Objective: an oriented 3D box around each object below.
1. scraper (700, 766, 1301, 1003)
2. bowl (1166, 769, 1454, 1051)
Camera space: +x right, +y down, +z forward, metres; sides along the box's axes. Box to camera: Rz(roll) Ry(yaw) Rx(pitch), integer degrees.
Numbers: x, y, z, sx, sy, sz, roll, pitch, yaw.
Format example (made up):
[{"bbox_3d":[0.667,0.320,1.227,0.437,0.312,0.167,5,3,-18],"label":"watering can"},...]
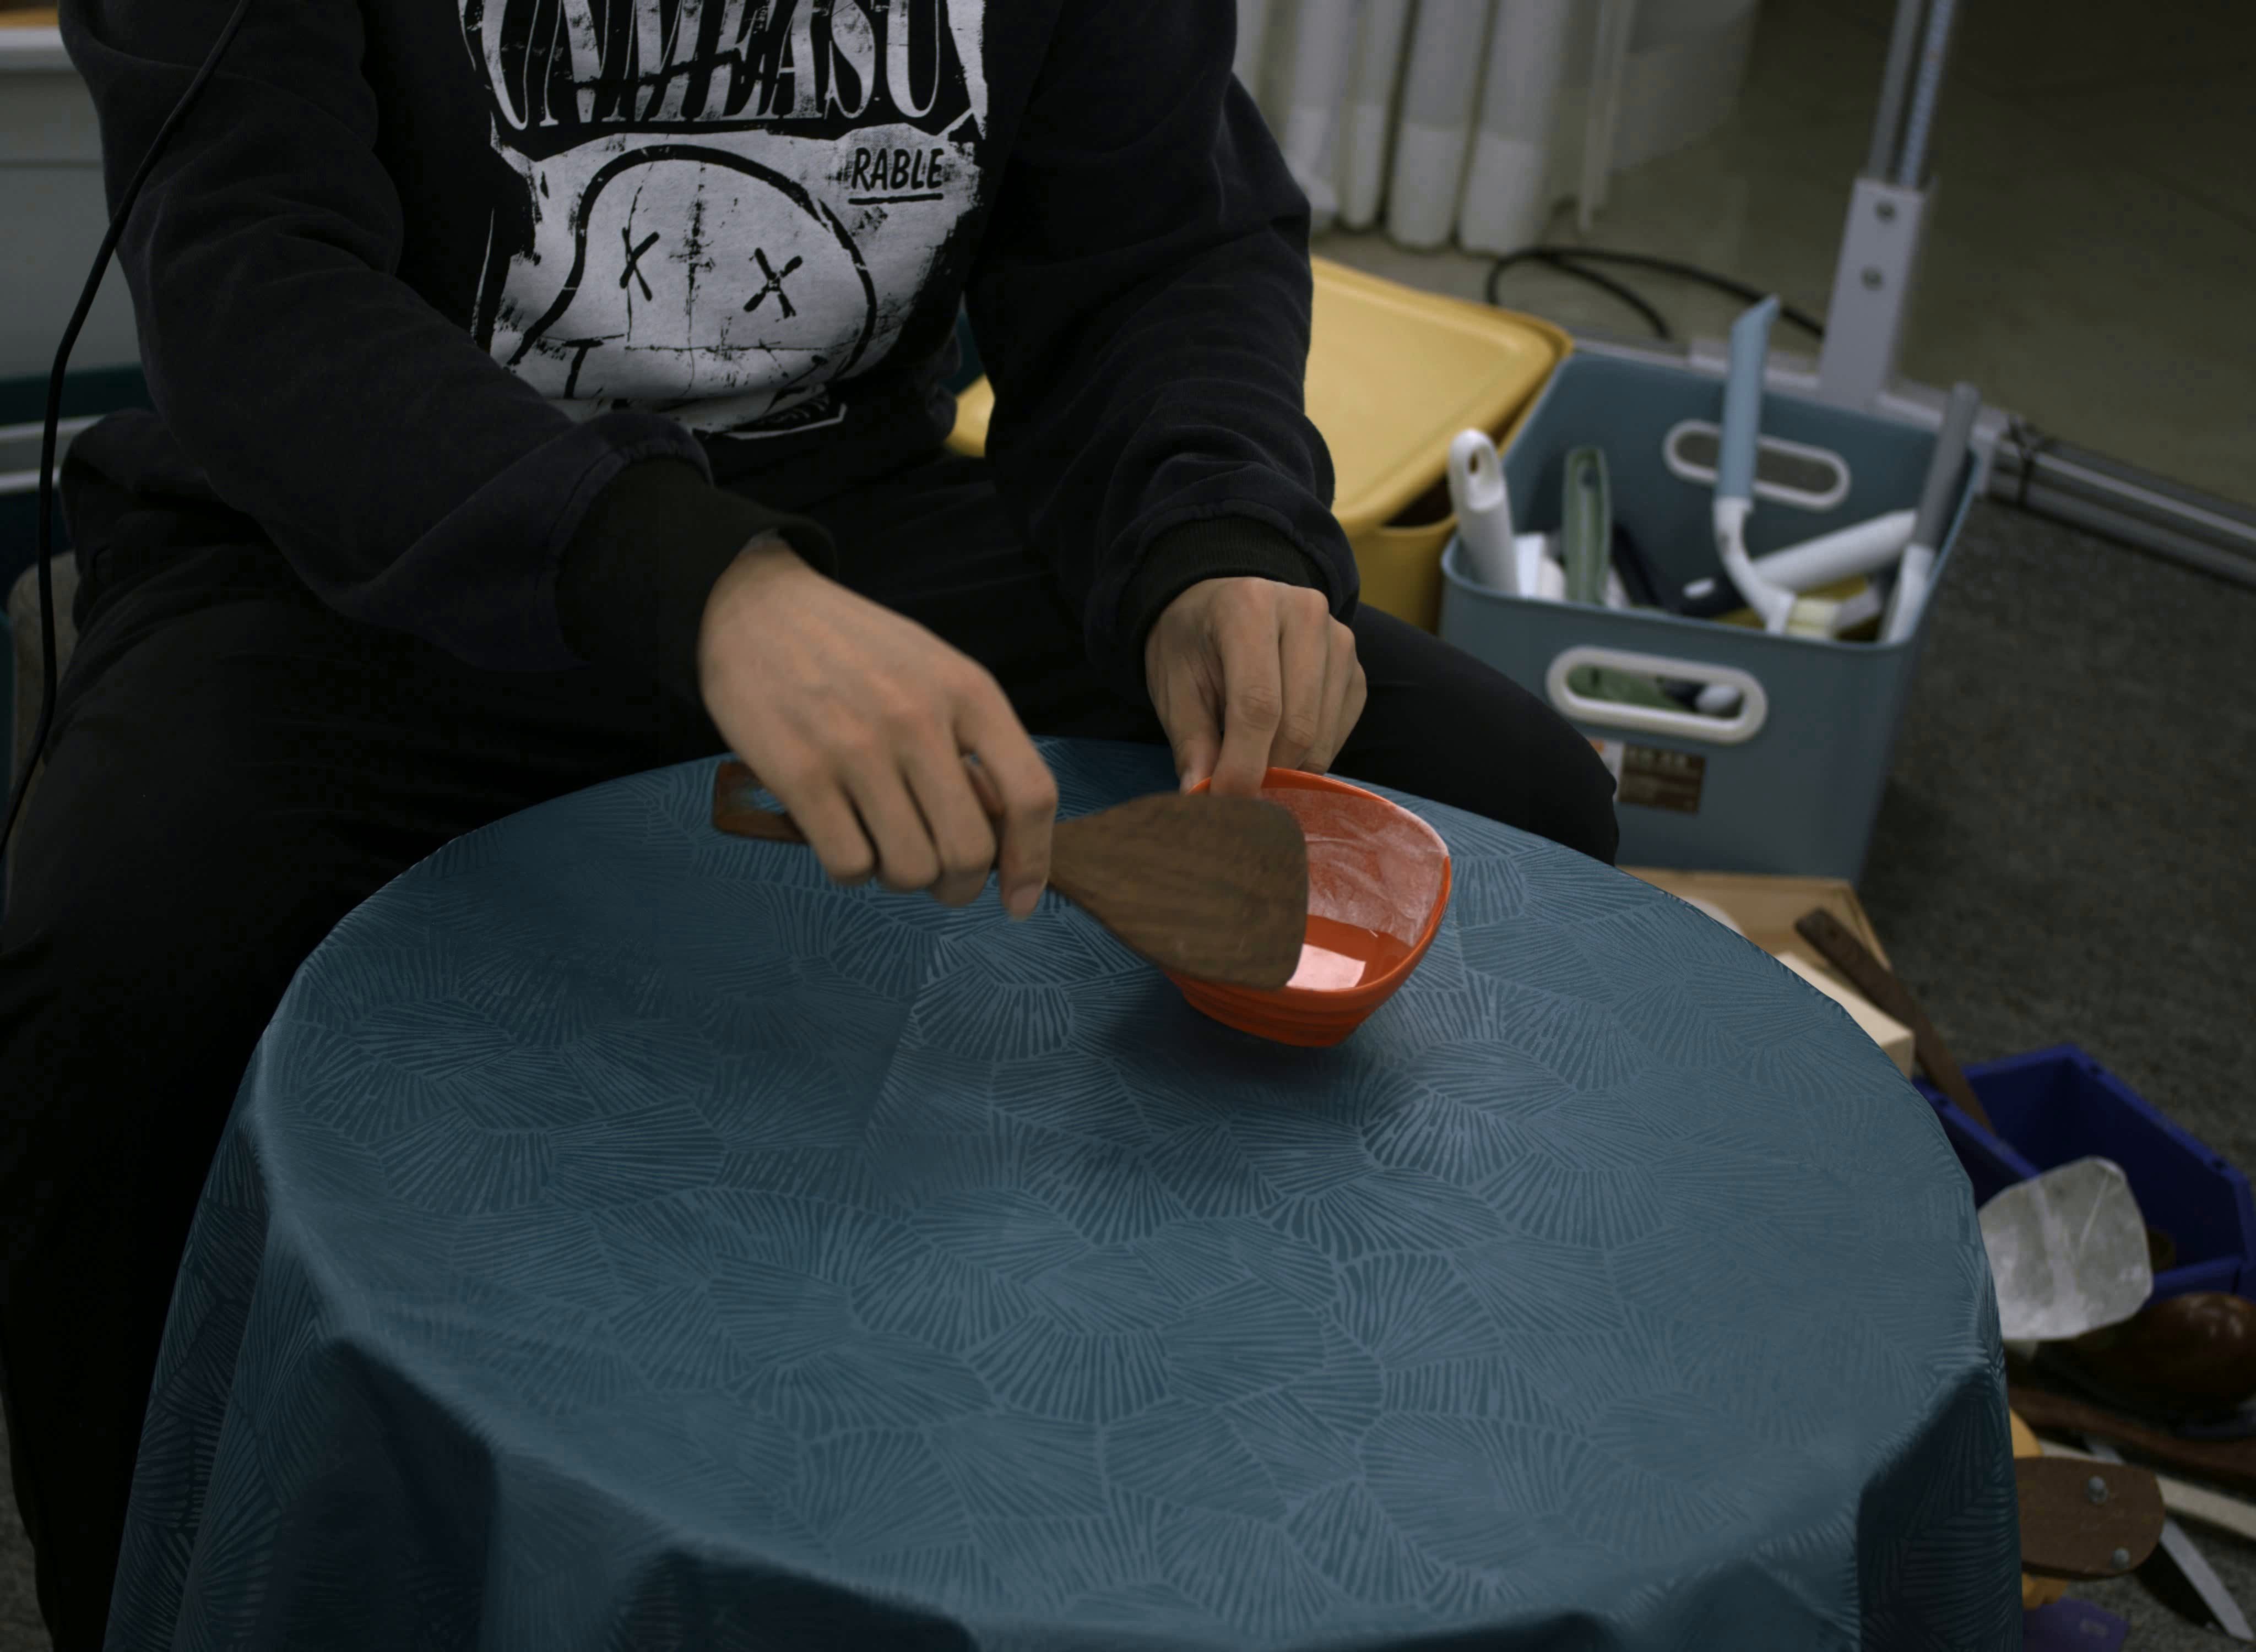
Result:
[{"bbox_3d":[-0.043,0.011,1.814,0.210,0.011,0.076,11,58,-10],"label":"scraper"},{"bbox_3d":[0.058,0.037,1.912,0.118,0.051,0.120,2,44,-2],"label":"bowl"}]
